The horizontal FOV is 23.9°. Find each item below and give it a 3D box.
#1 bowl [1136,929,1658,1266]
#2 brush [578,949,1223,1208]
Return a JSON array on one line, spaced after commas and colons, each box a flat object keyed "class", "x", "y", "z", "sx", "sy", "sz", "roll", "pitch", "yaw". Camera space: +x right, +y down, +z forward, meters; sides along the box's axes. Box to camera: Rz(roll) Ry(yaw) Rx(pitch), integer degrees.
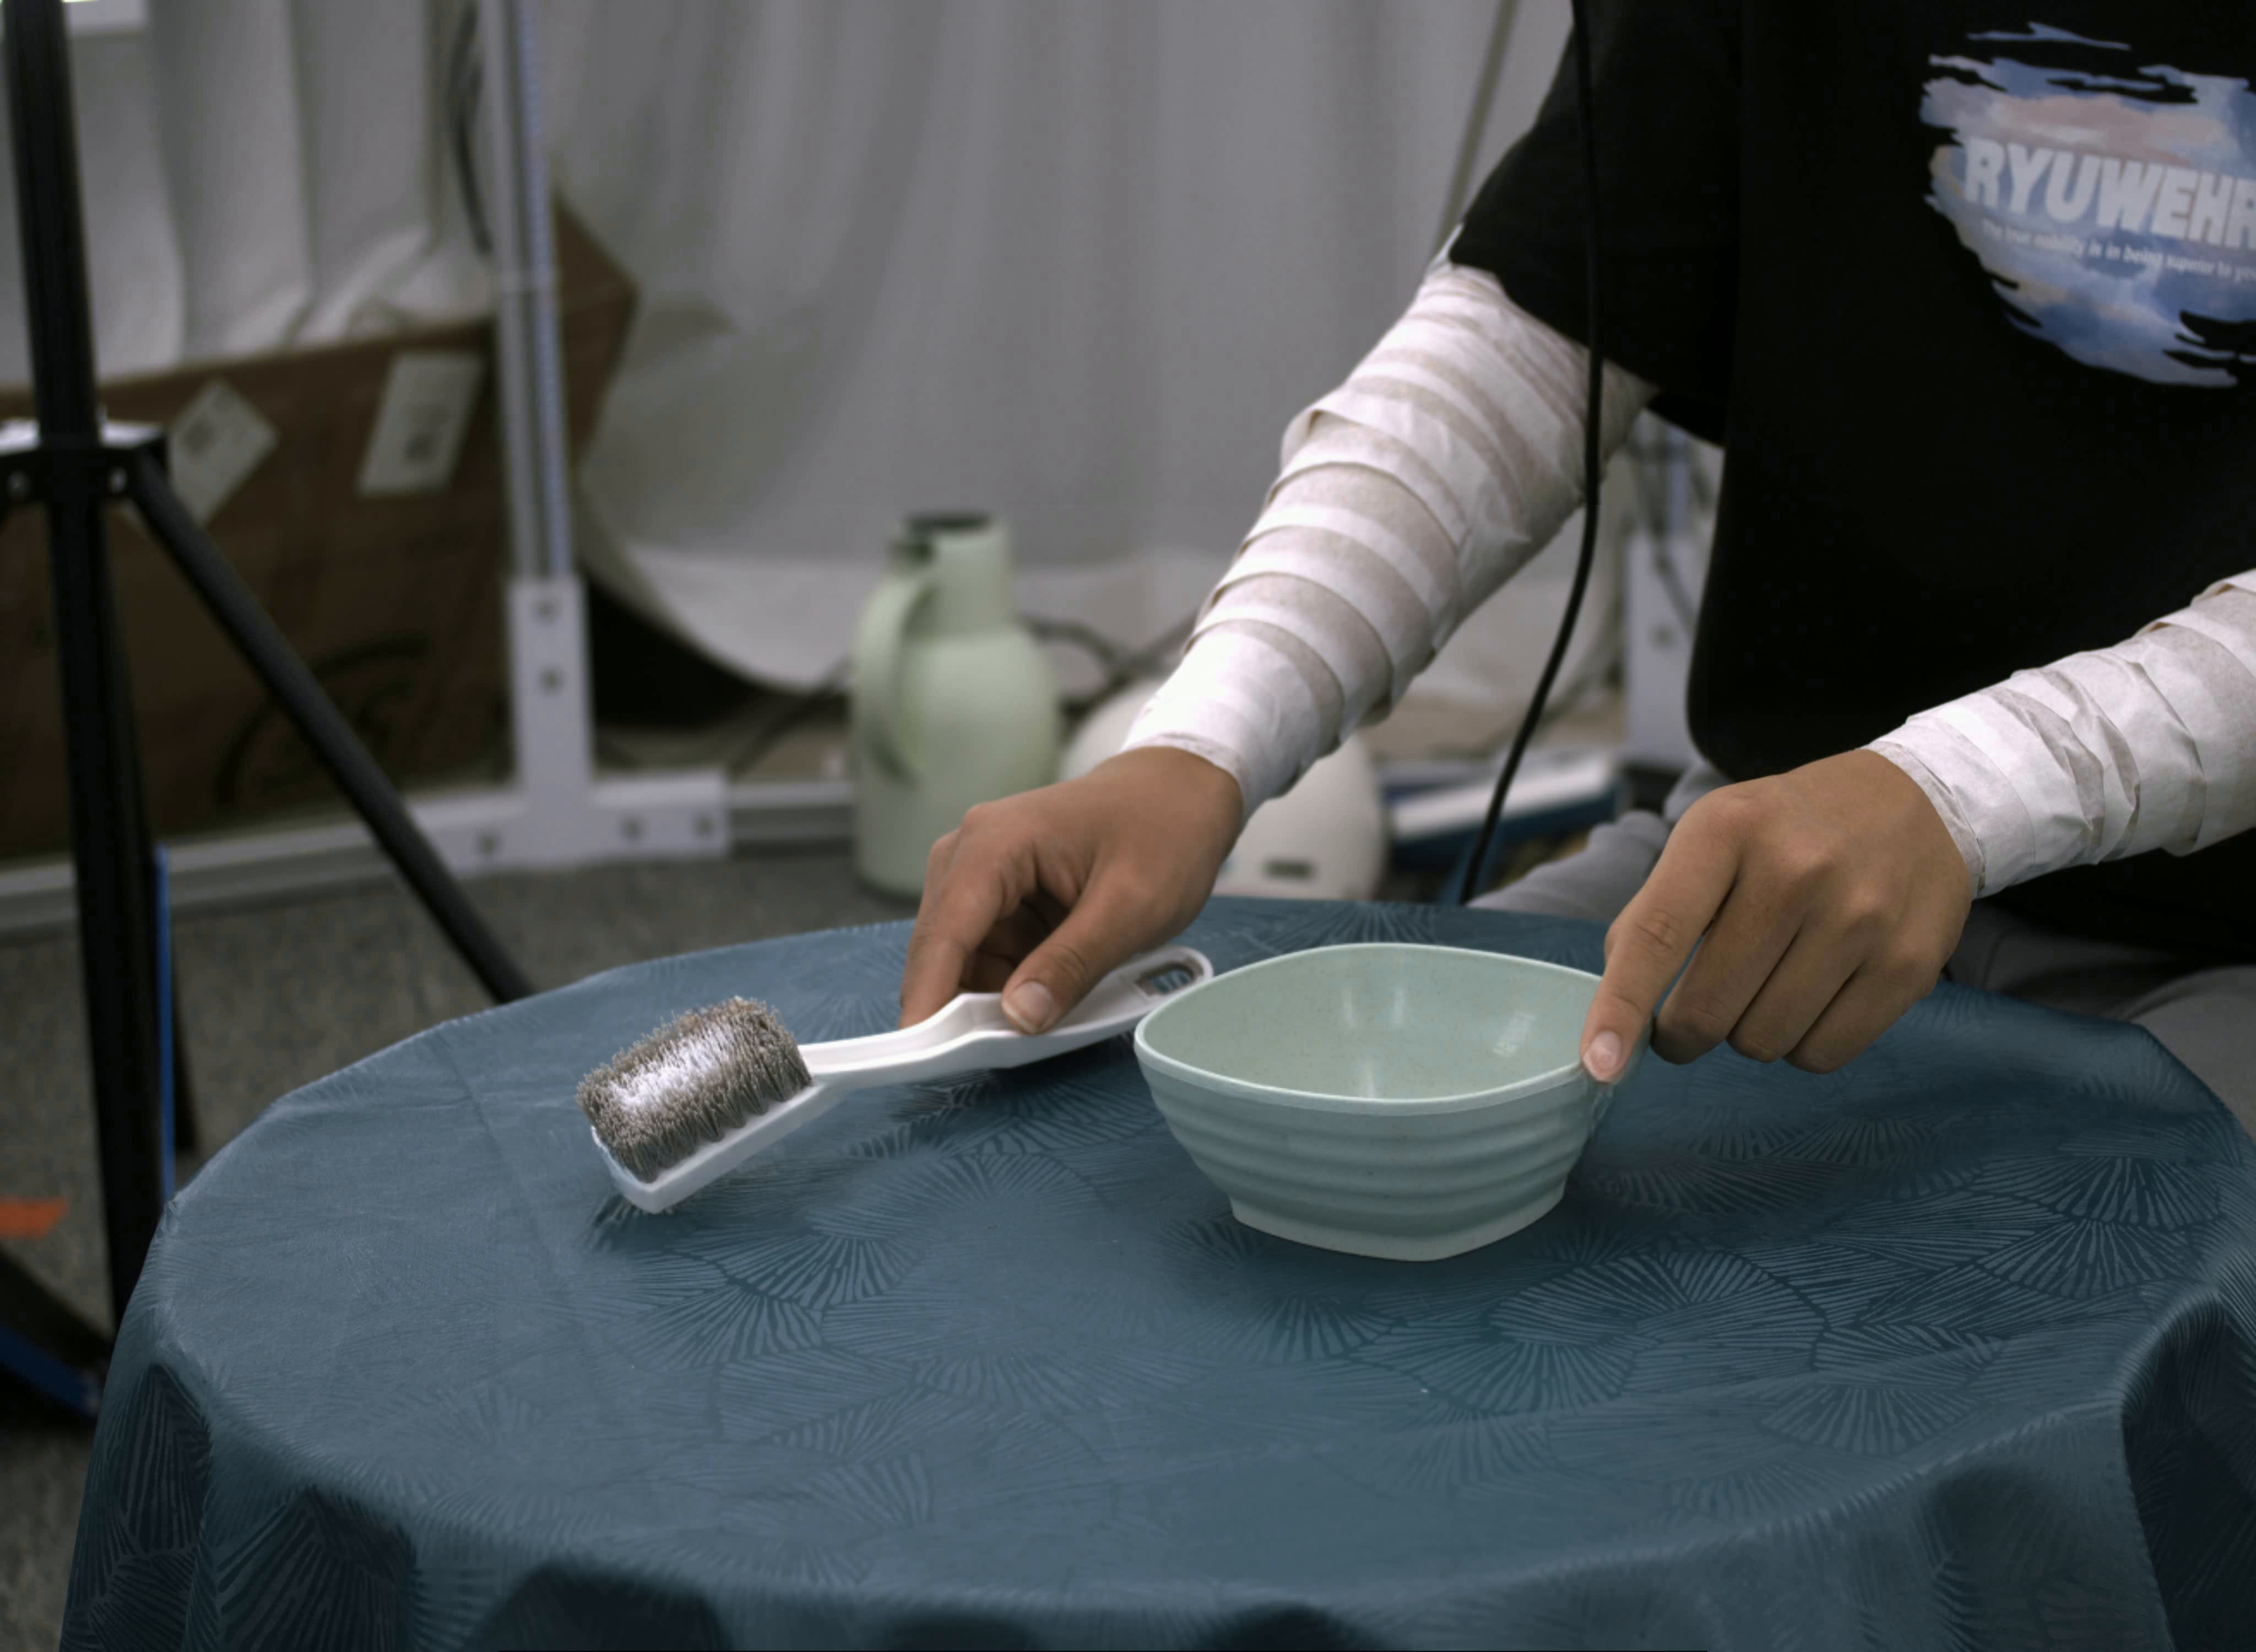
[{"class": "bowl", "x": 0.078, "y": 0.082, "z": 1.532, "sx": 0.150, "sy": 0.058, "sz": 0.152, "roll": -2, "pitch": 18, "yaw": -1}, {"class": "brush", "x": -0.061, "y": 0.060, "z": 1.616, "sx": 0.238, "sy": 0.050, "sz": 0.035, "roll": -17, "pitch": 48, "yaw": -34}]
